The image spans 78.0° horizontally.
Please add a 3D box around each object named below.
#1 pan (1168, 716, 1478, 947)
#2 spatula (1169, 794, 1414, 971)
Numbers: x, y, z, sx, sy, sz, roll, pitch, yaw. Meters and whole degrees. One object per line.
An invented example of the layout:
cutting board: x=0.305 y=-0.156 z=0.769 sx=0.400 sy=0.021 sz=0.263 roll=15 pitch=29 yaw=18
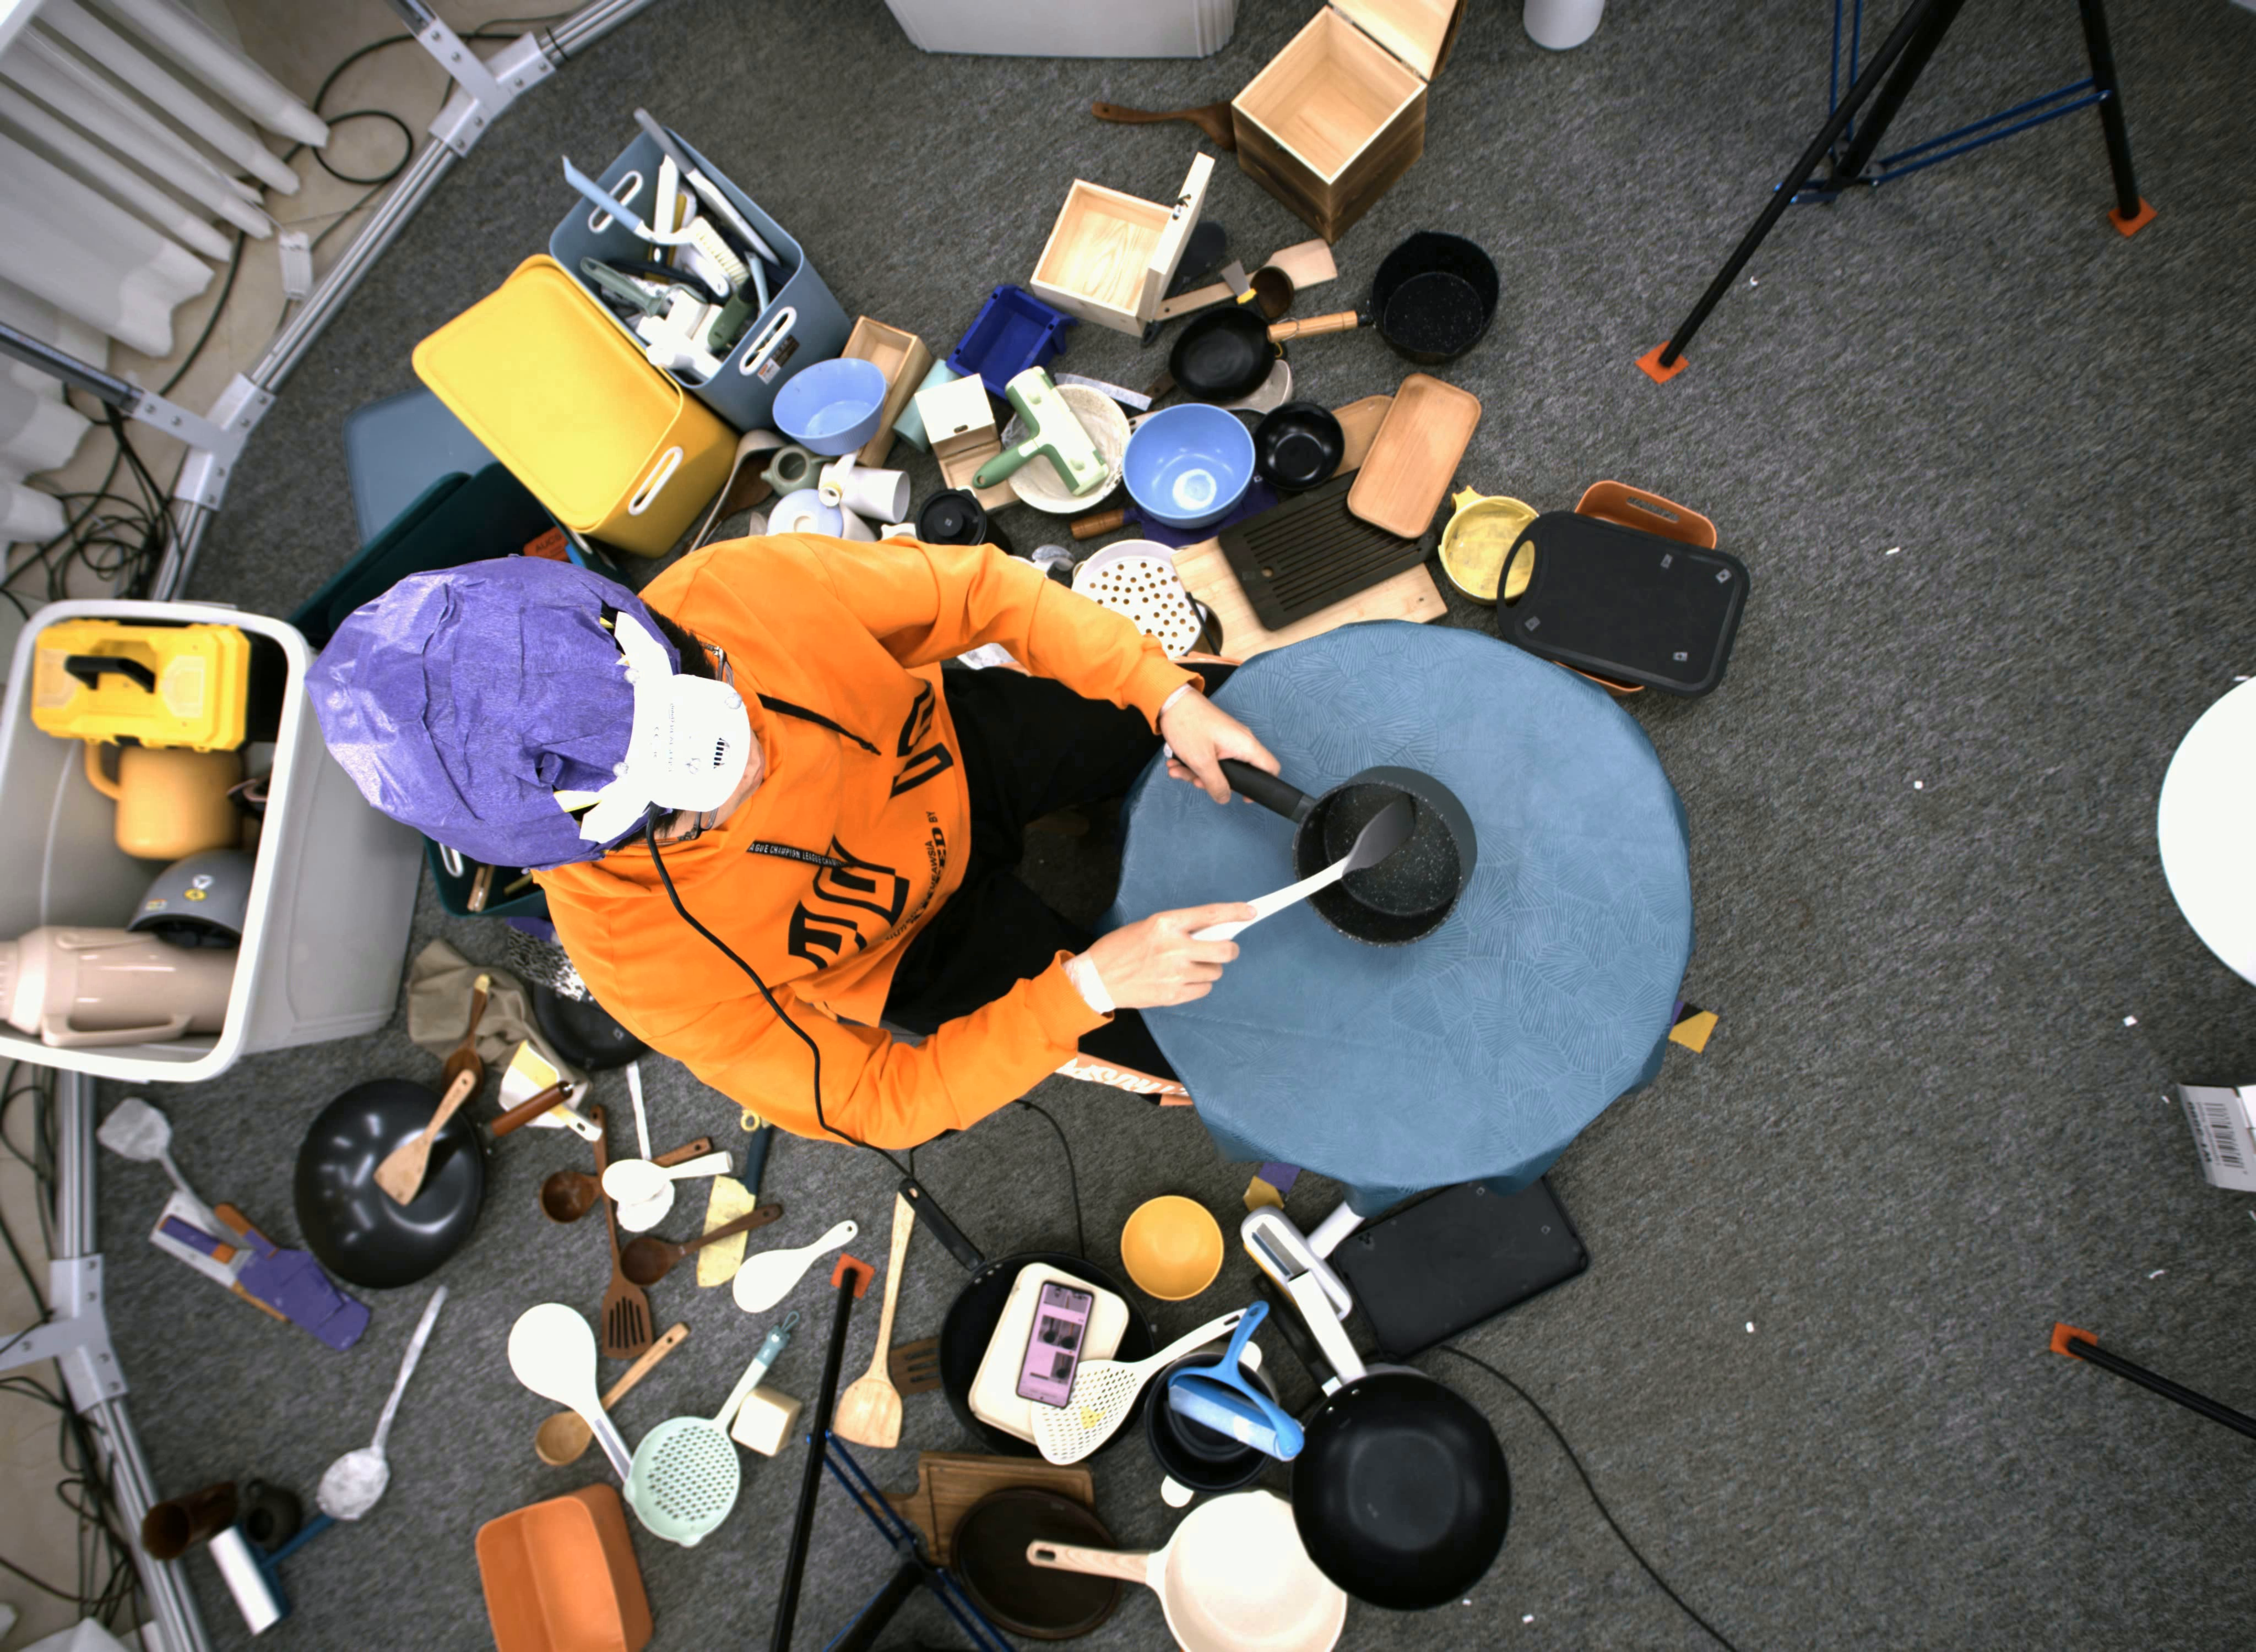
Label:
pan: x=0.192 y=-0.017 z=1.379 sx=0.328 sy=0.085 sz=0.176 roll=34 pitch=120 yaw=12
spatula: x=0.167 y=0.053 z=1.333 sx=0.285 sy=0.032 sz=0.060 roll=-31 pitch=124 yaw=-13
